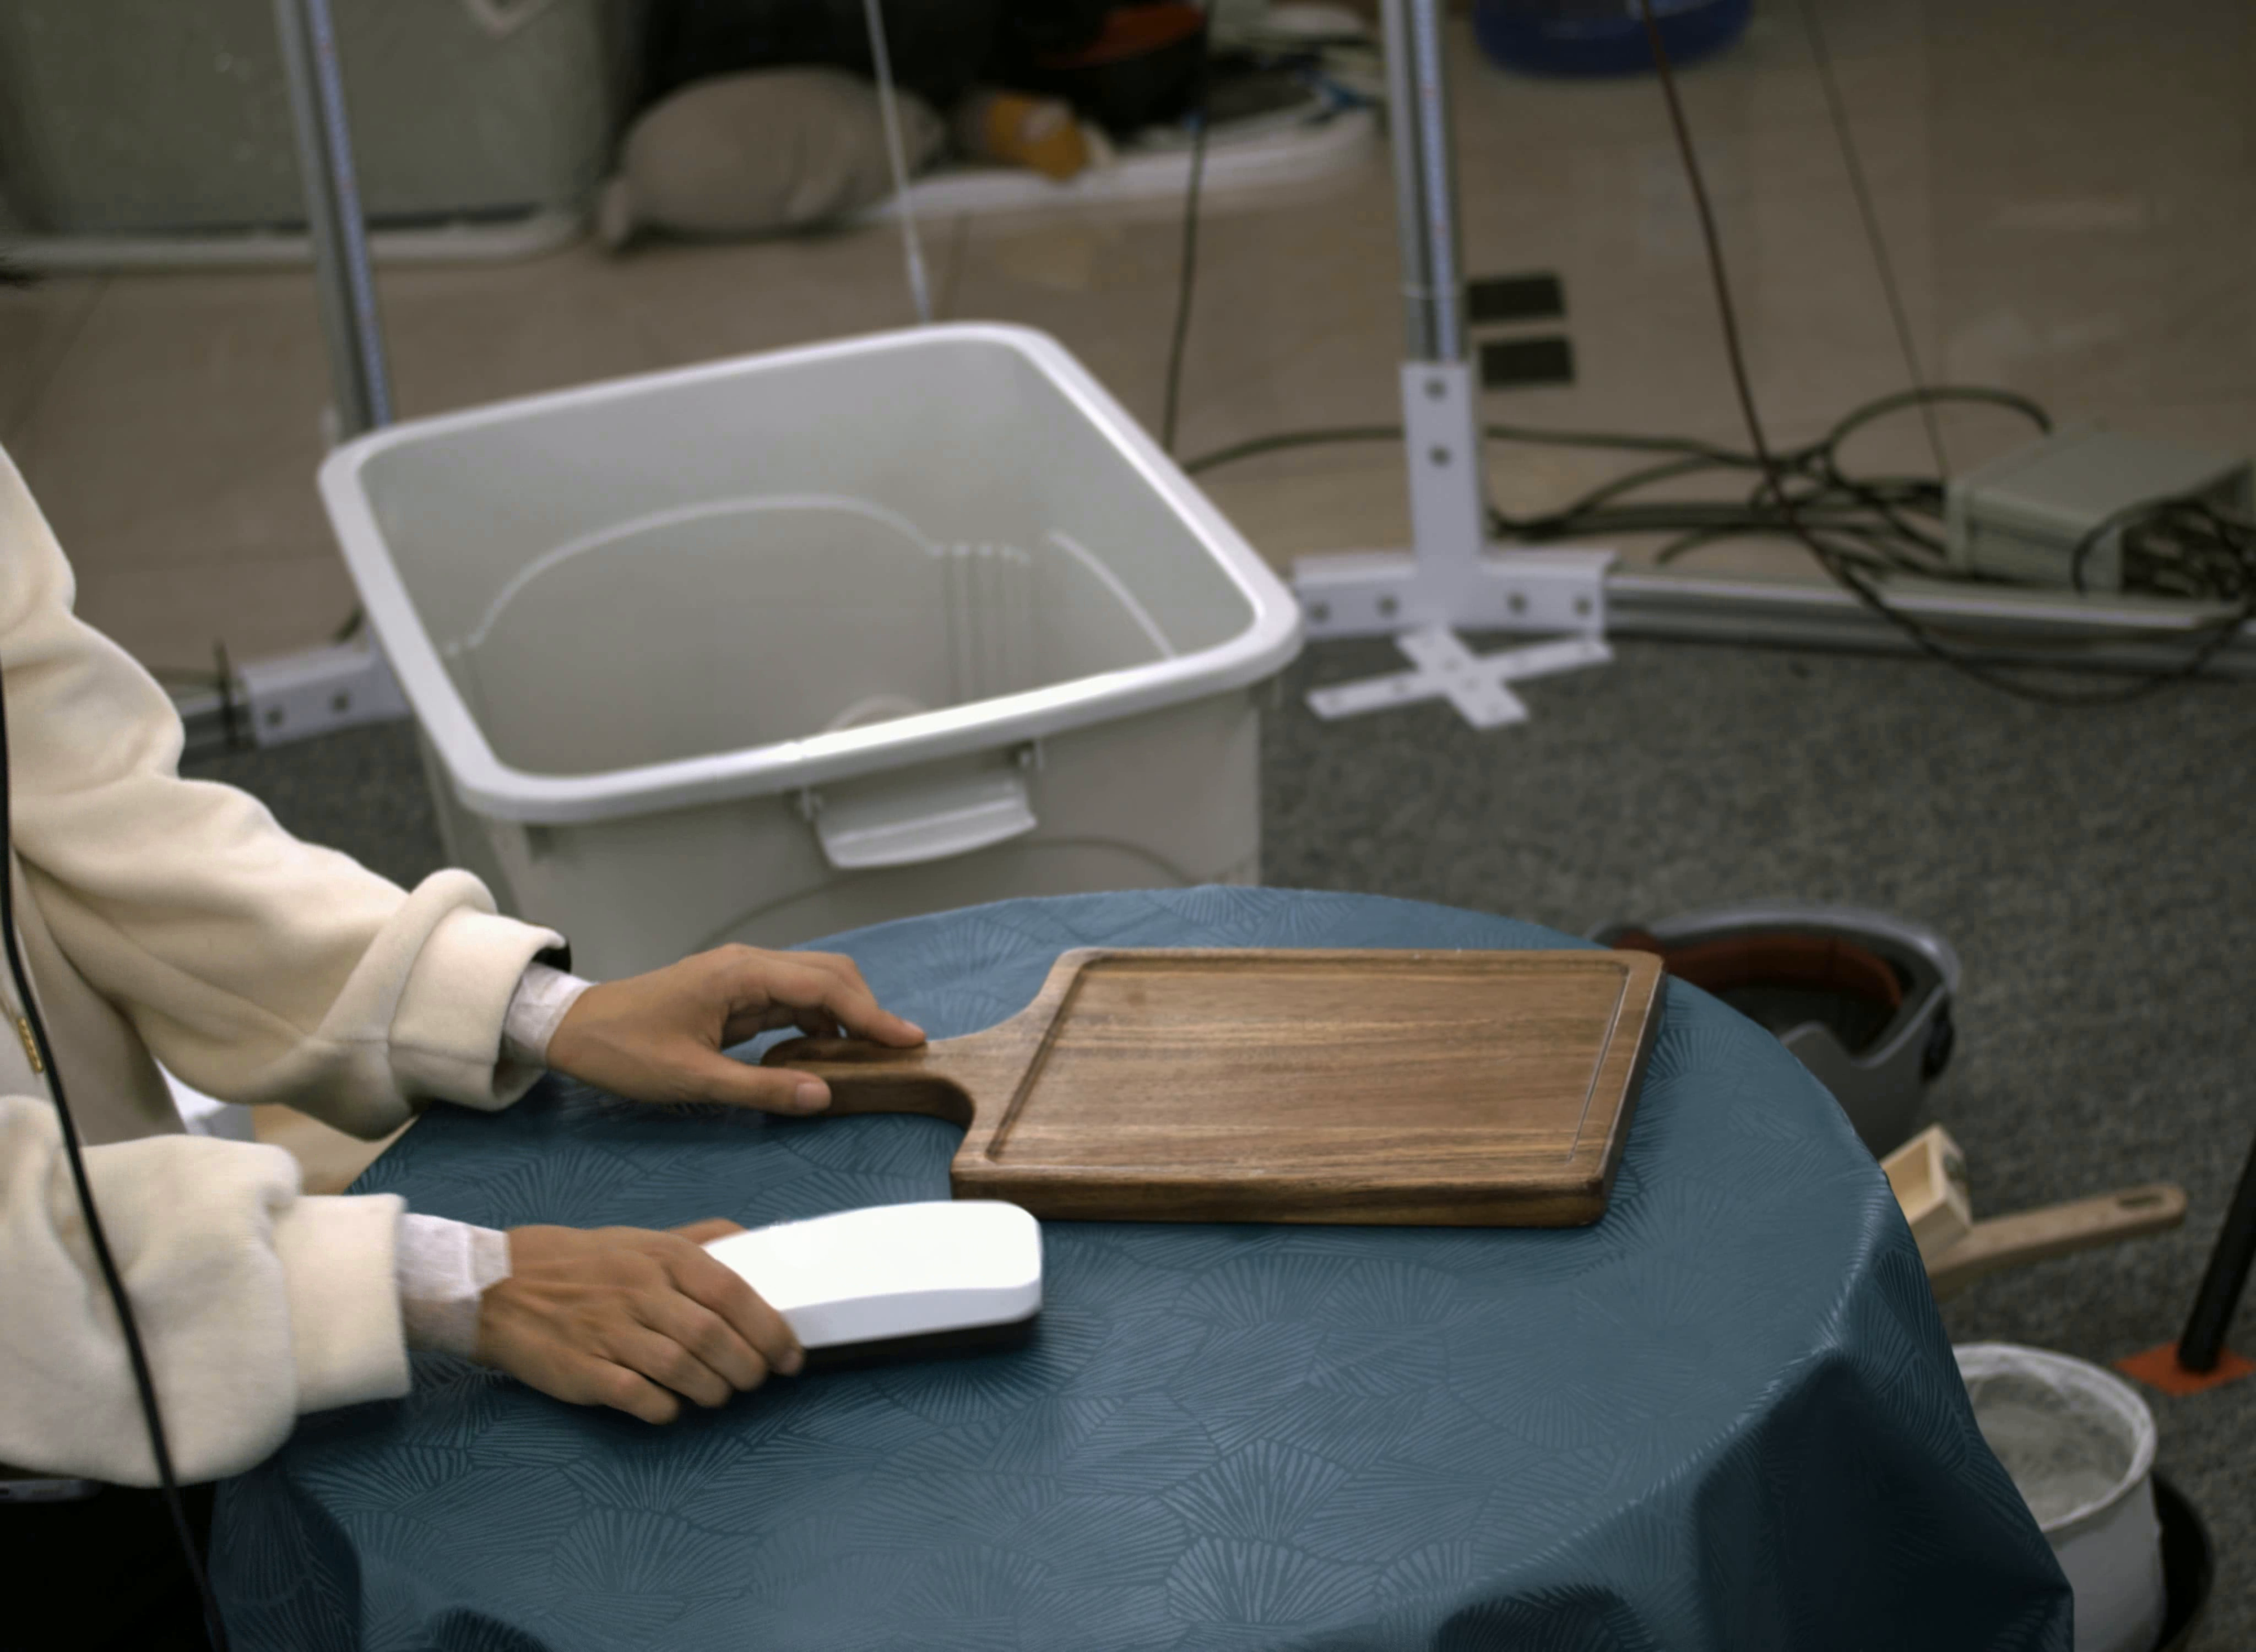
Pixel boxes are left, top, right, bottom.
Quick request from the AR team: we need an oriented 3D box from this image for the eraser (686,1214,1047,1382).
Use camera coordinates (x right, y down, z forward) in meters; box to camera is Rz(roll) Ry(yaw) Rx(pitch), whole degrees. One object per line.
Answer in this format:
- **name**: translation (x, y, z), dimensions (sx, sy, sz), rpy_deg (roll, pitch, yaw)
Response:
- **eraser**: translation (-0.094, 0.169, 2.057), dimensions (0.131, 0.035, 0.062), rpy_deg (-6, 26, 1)

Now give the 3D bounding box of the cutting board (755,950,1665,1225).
- **cutting board**: translation (0.025, 0.098, 2.204), dimensions (0.351, 0.023, 0.198), rpy_deg (0, 25, 13)
